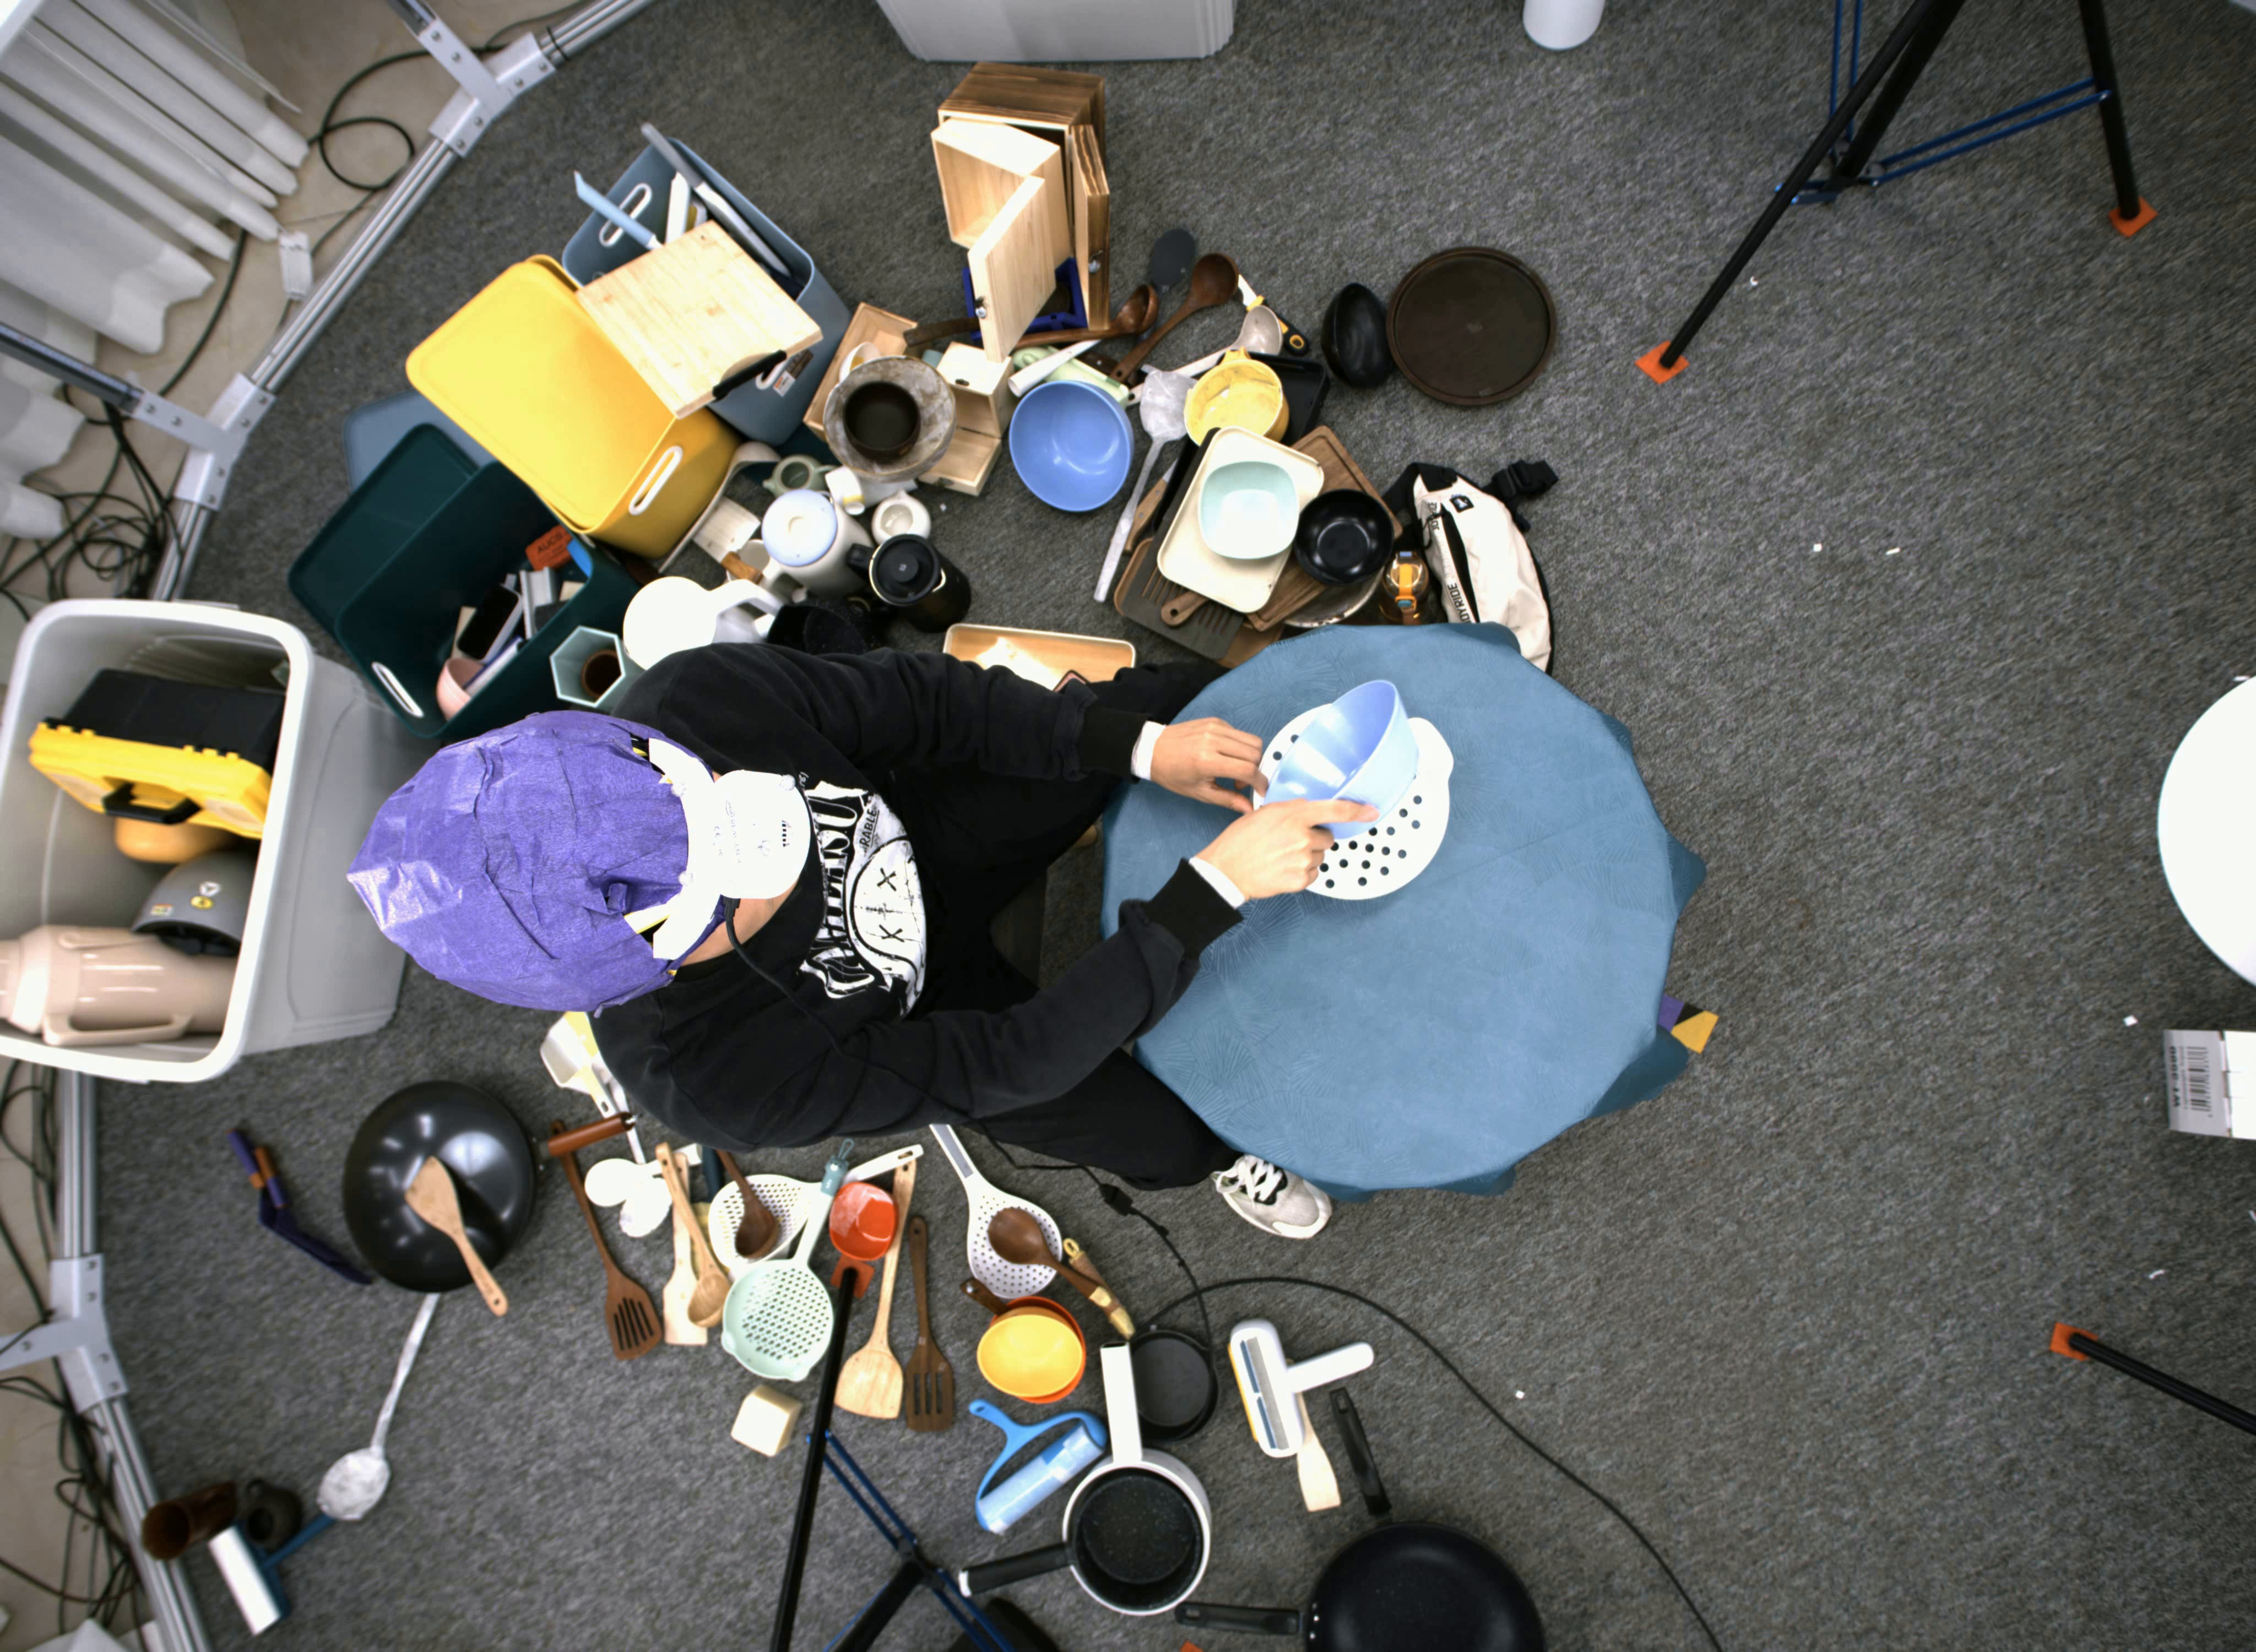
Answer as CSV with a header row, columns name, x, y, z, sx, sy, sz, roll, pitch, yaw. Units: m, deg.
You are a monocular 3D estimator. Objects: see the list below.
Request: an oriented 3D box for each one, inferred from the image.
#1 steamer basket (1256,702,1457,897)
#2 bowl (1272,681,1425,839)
name,x,y,z,sx,sy,sz,roll,pitch,yaw
steamer basket,0.232,-0.026,1.428,0.229,0.069,0.202,-35,89,-7
bowl,0.223,-0.053,1.333,0.071,0.174,0.176,38,92,-17
